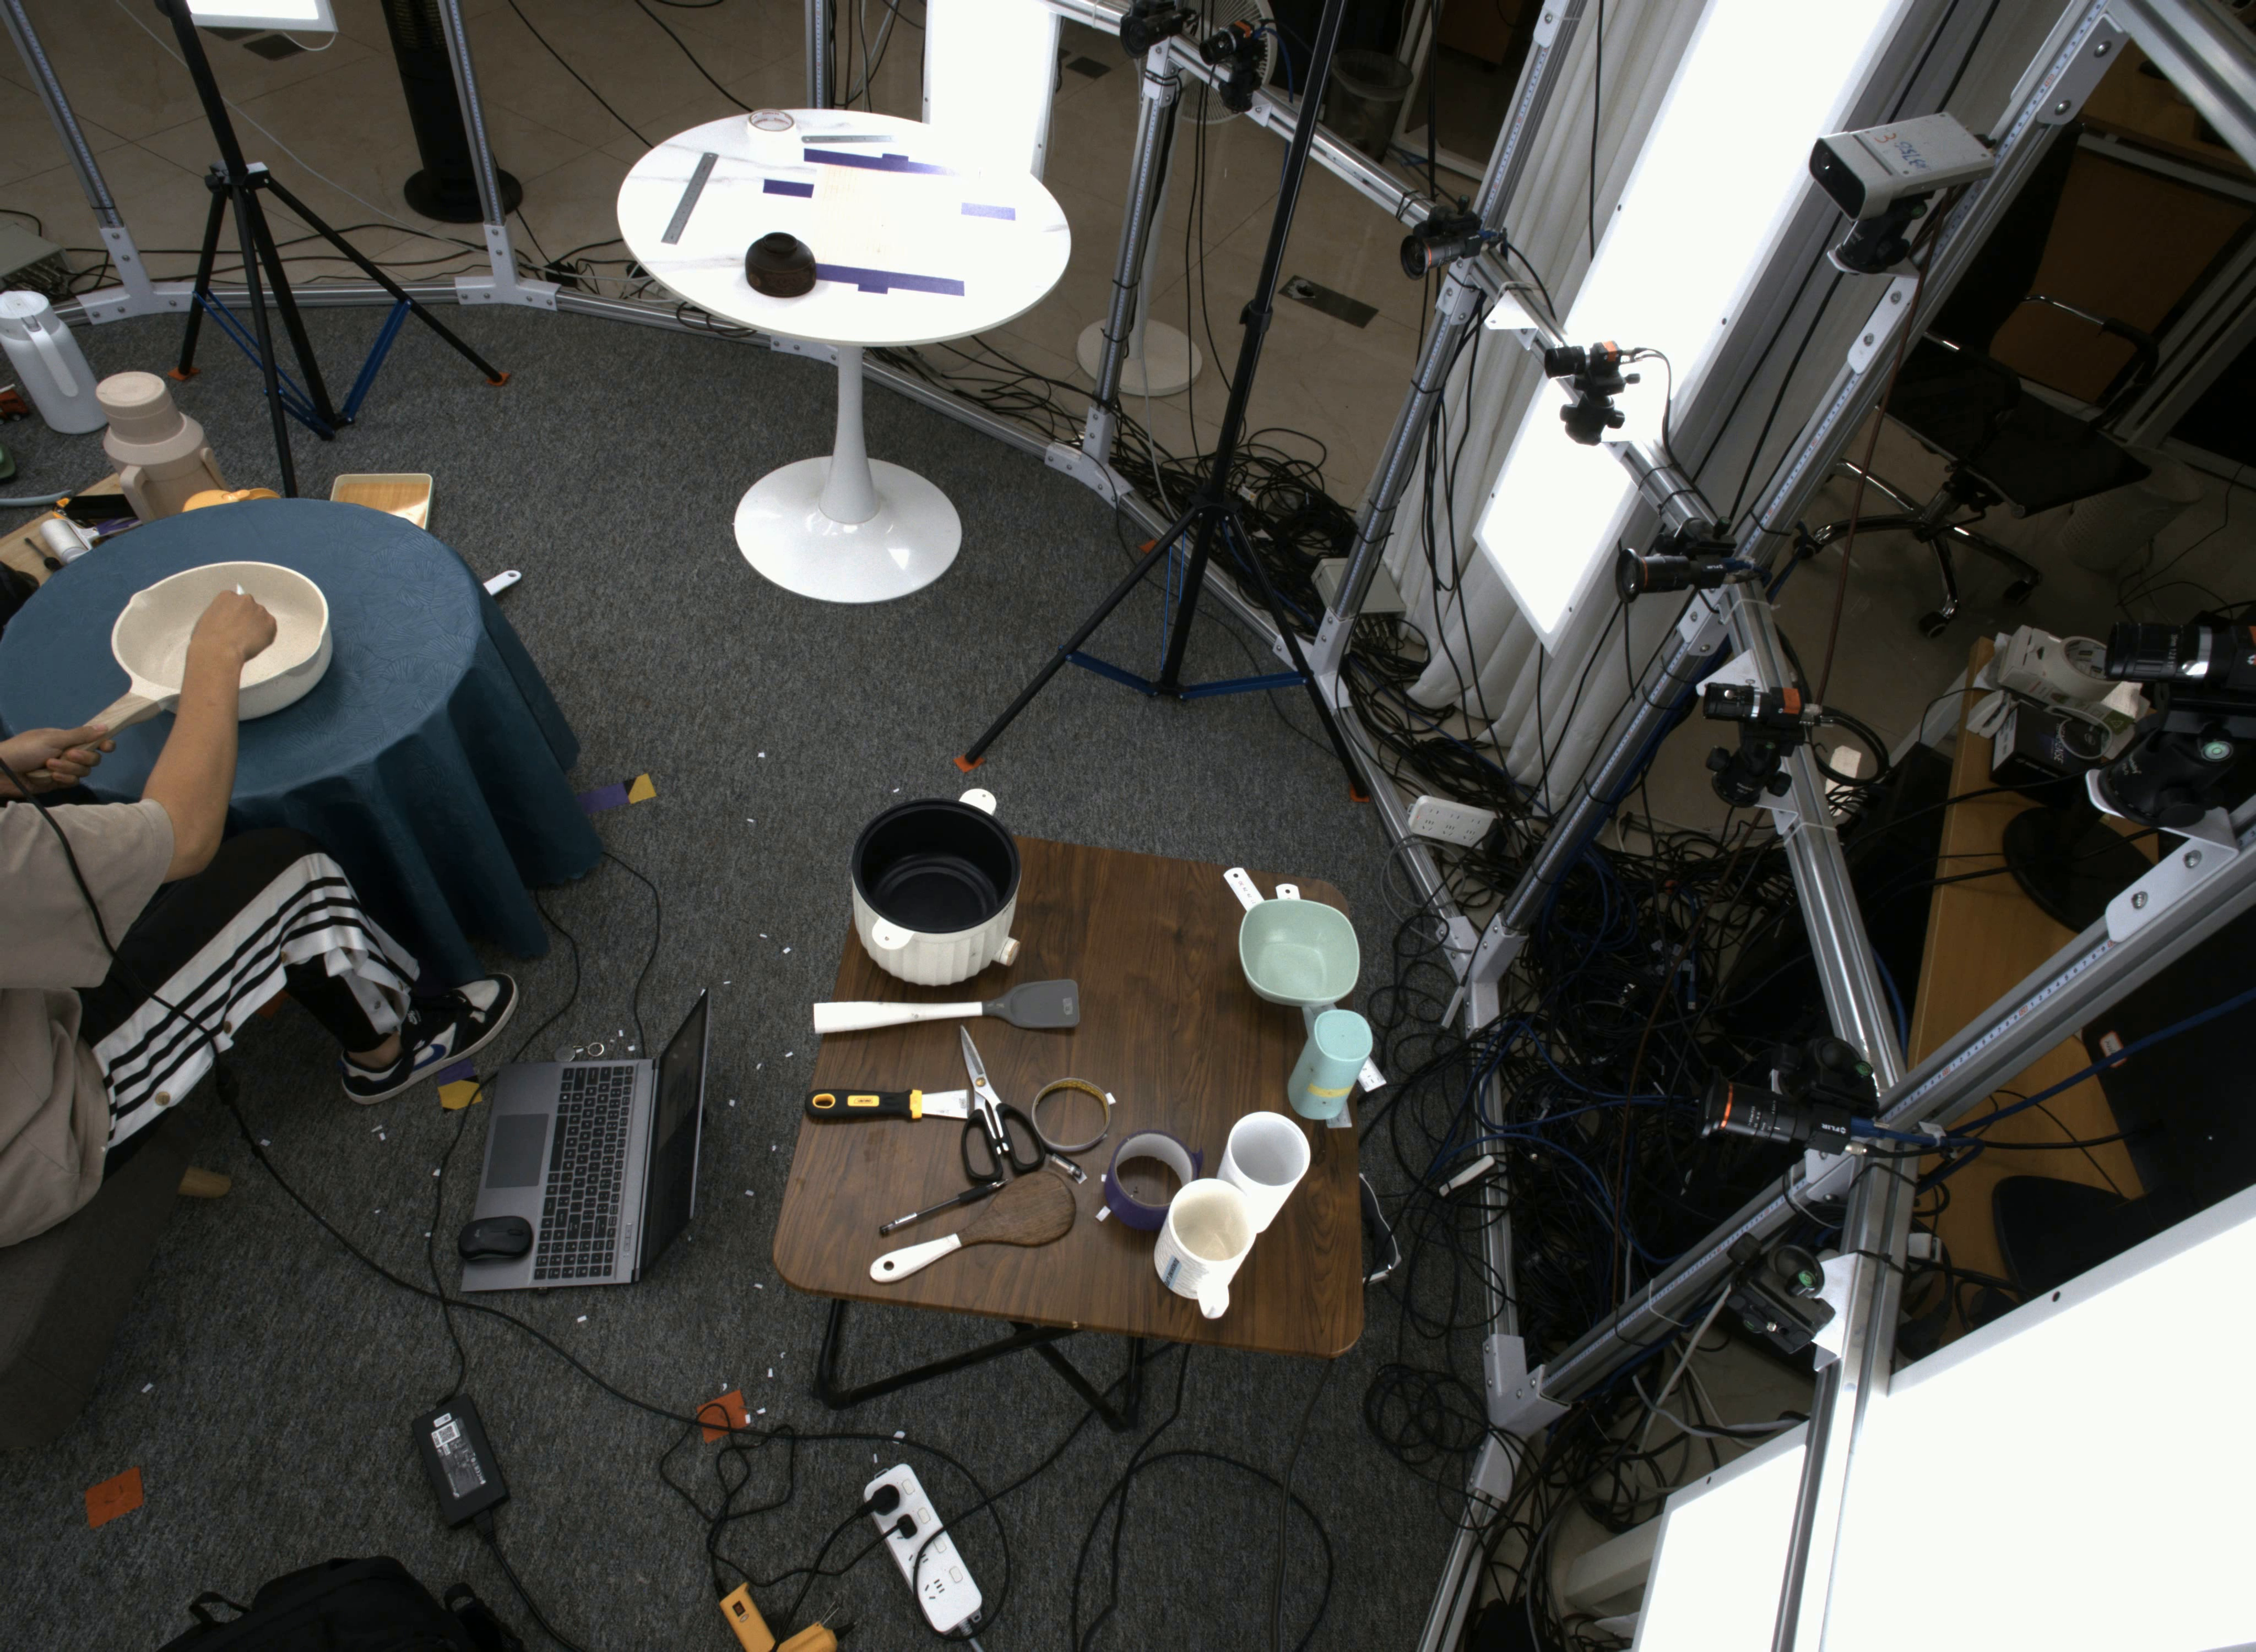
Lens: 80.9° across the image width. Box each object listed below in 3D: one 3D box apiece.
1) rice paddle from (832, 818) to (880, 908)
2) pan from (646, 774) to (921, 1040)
[{"bbox_3d":[-0.323,0.042,1.512,0.030,0.069,0.198,18,12,-27],"label":"rice paddle"},{"bbox_3d":[-0.434,0.112,1.589,0.259,0.104,0.433,31,54,8],"label":"pan"}]
